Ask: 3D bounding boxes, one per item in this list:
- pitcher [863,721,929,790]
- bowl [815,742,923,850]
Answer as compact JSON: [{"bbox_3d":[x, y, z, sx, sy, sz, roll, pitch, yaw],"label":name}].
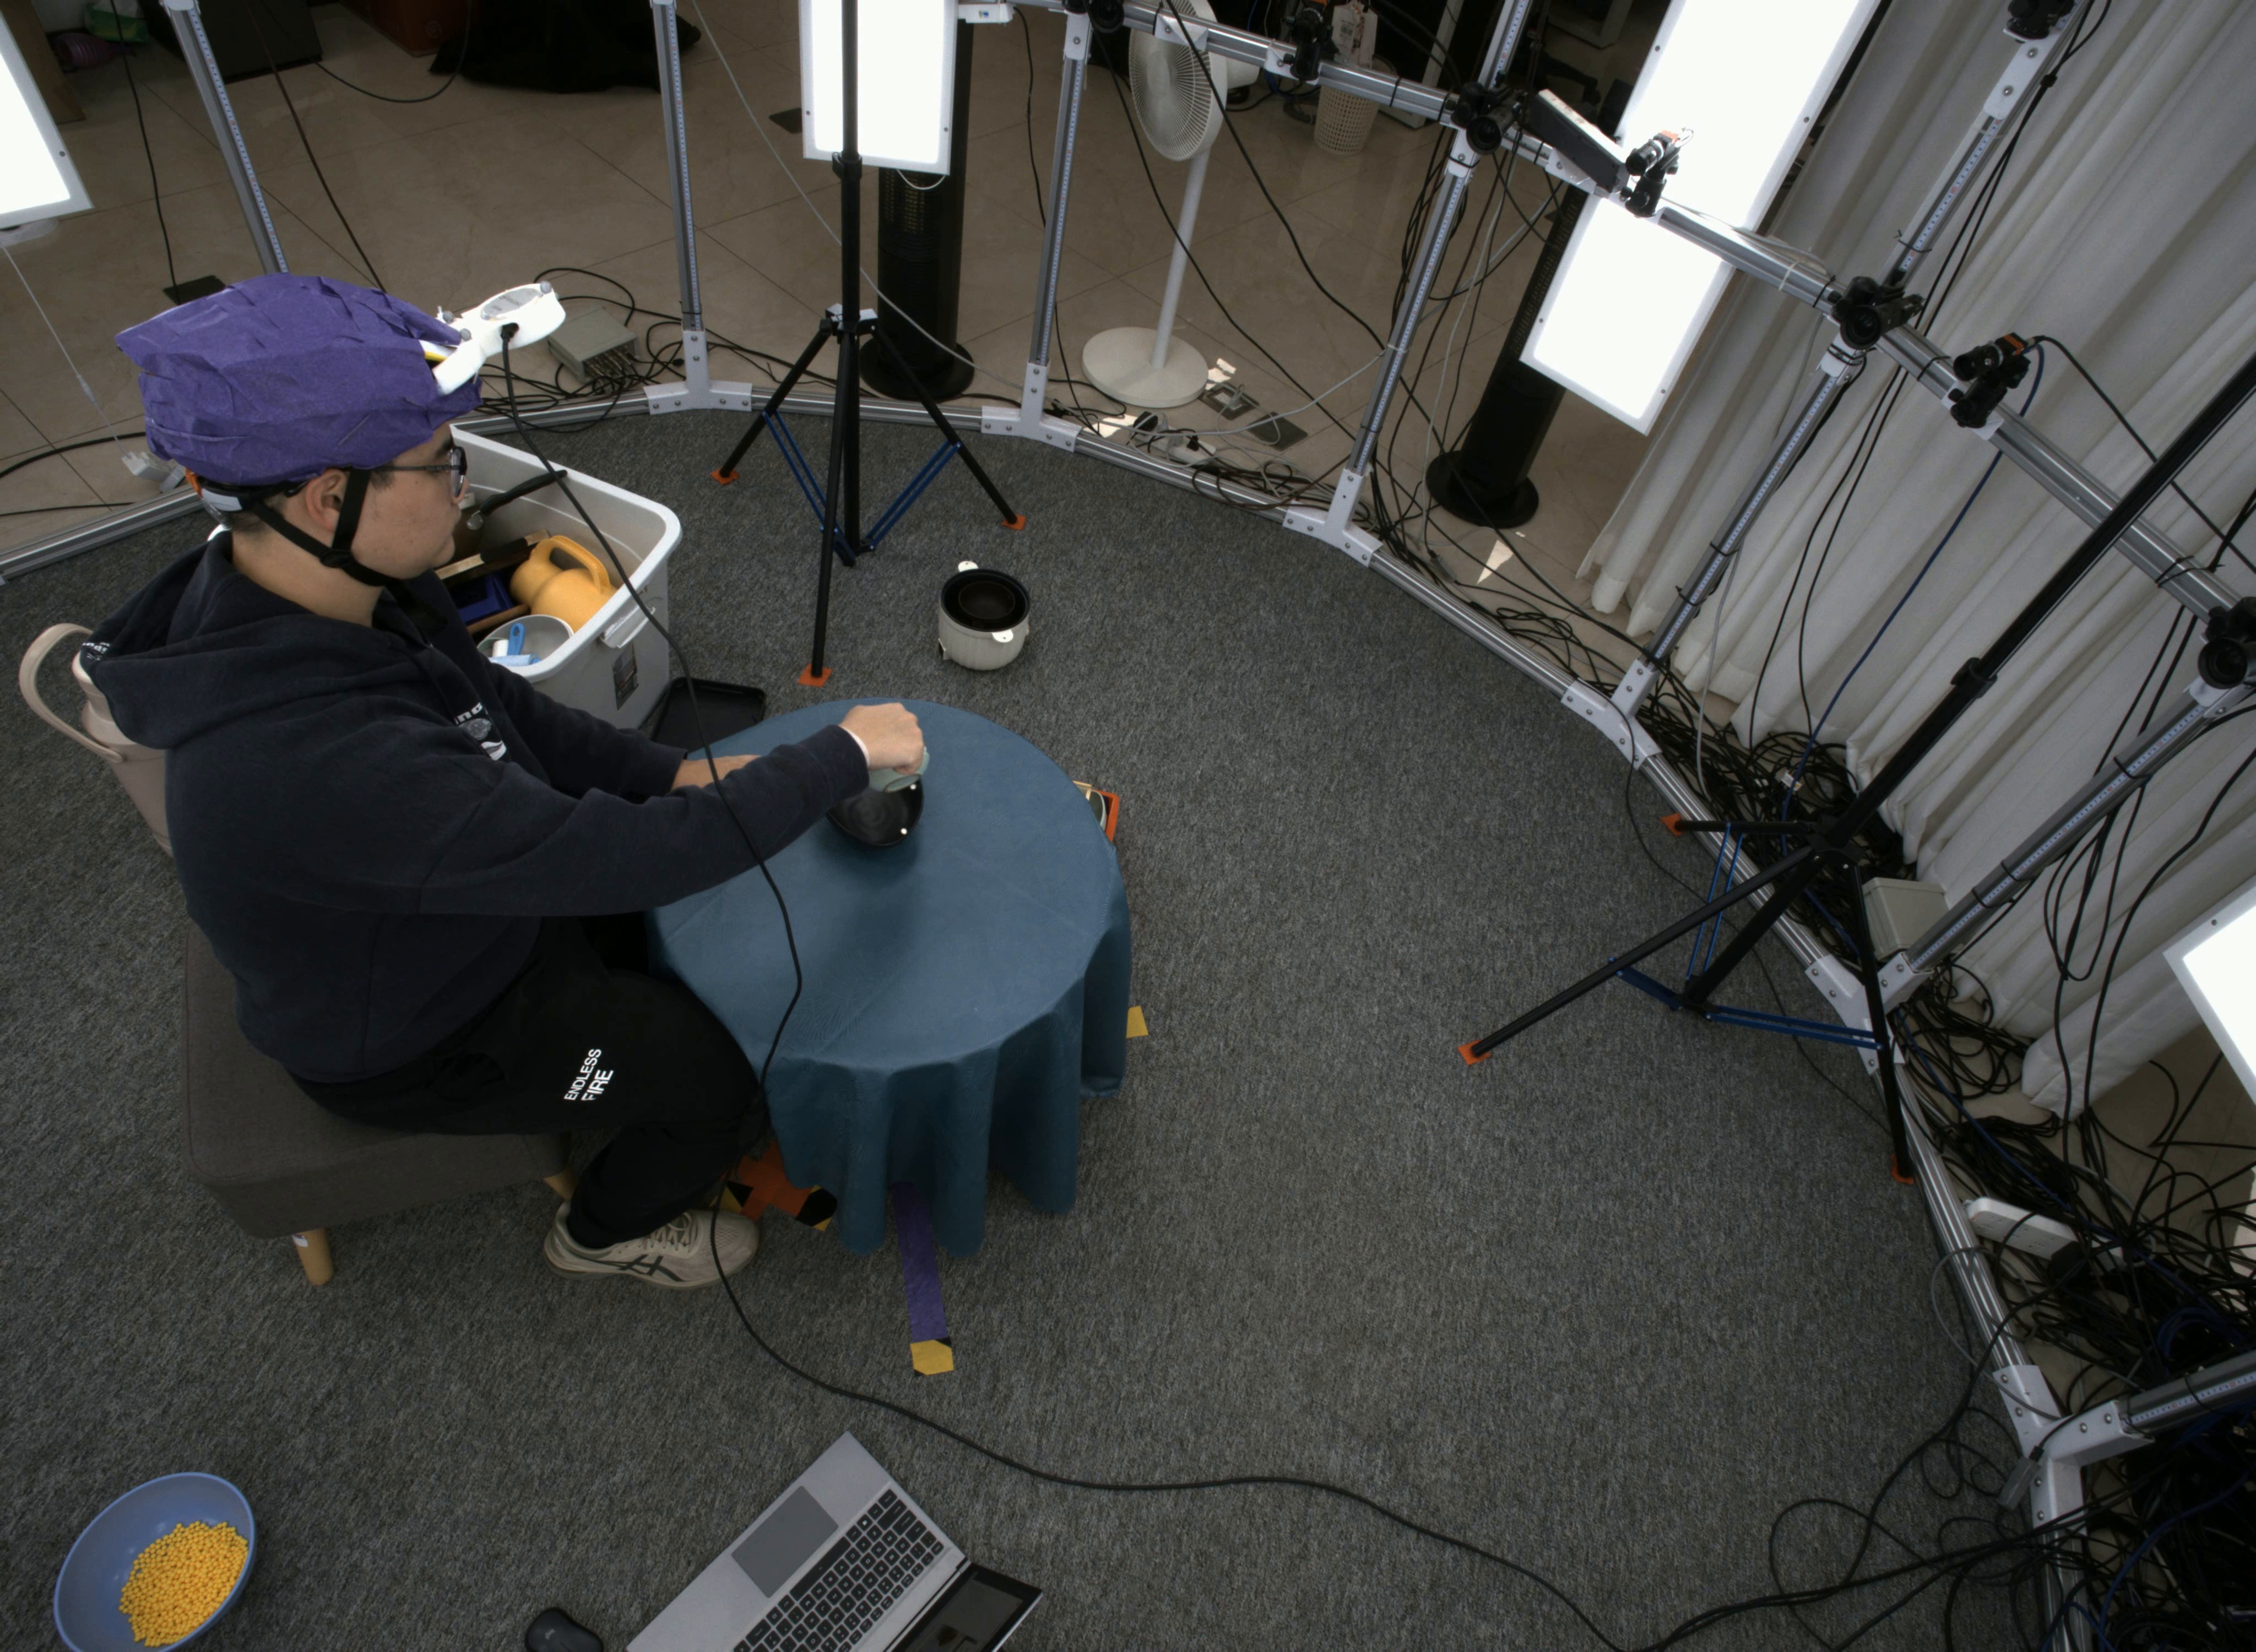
[{"bbox_3d":[-0.282,-0.085,1.571,0.086,0.108,0.060,-24,82,-24],"label":"pitcher"},{"bbox_3d":[-0.342,-0.032,1.724,0.138,0.068,0.166,-19,61,-25],"label":"bowl"}]
